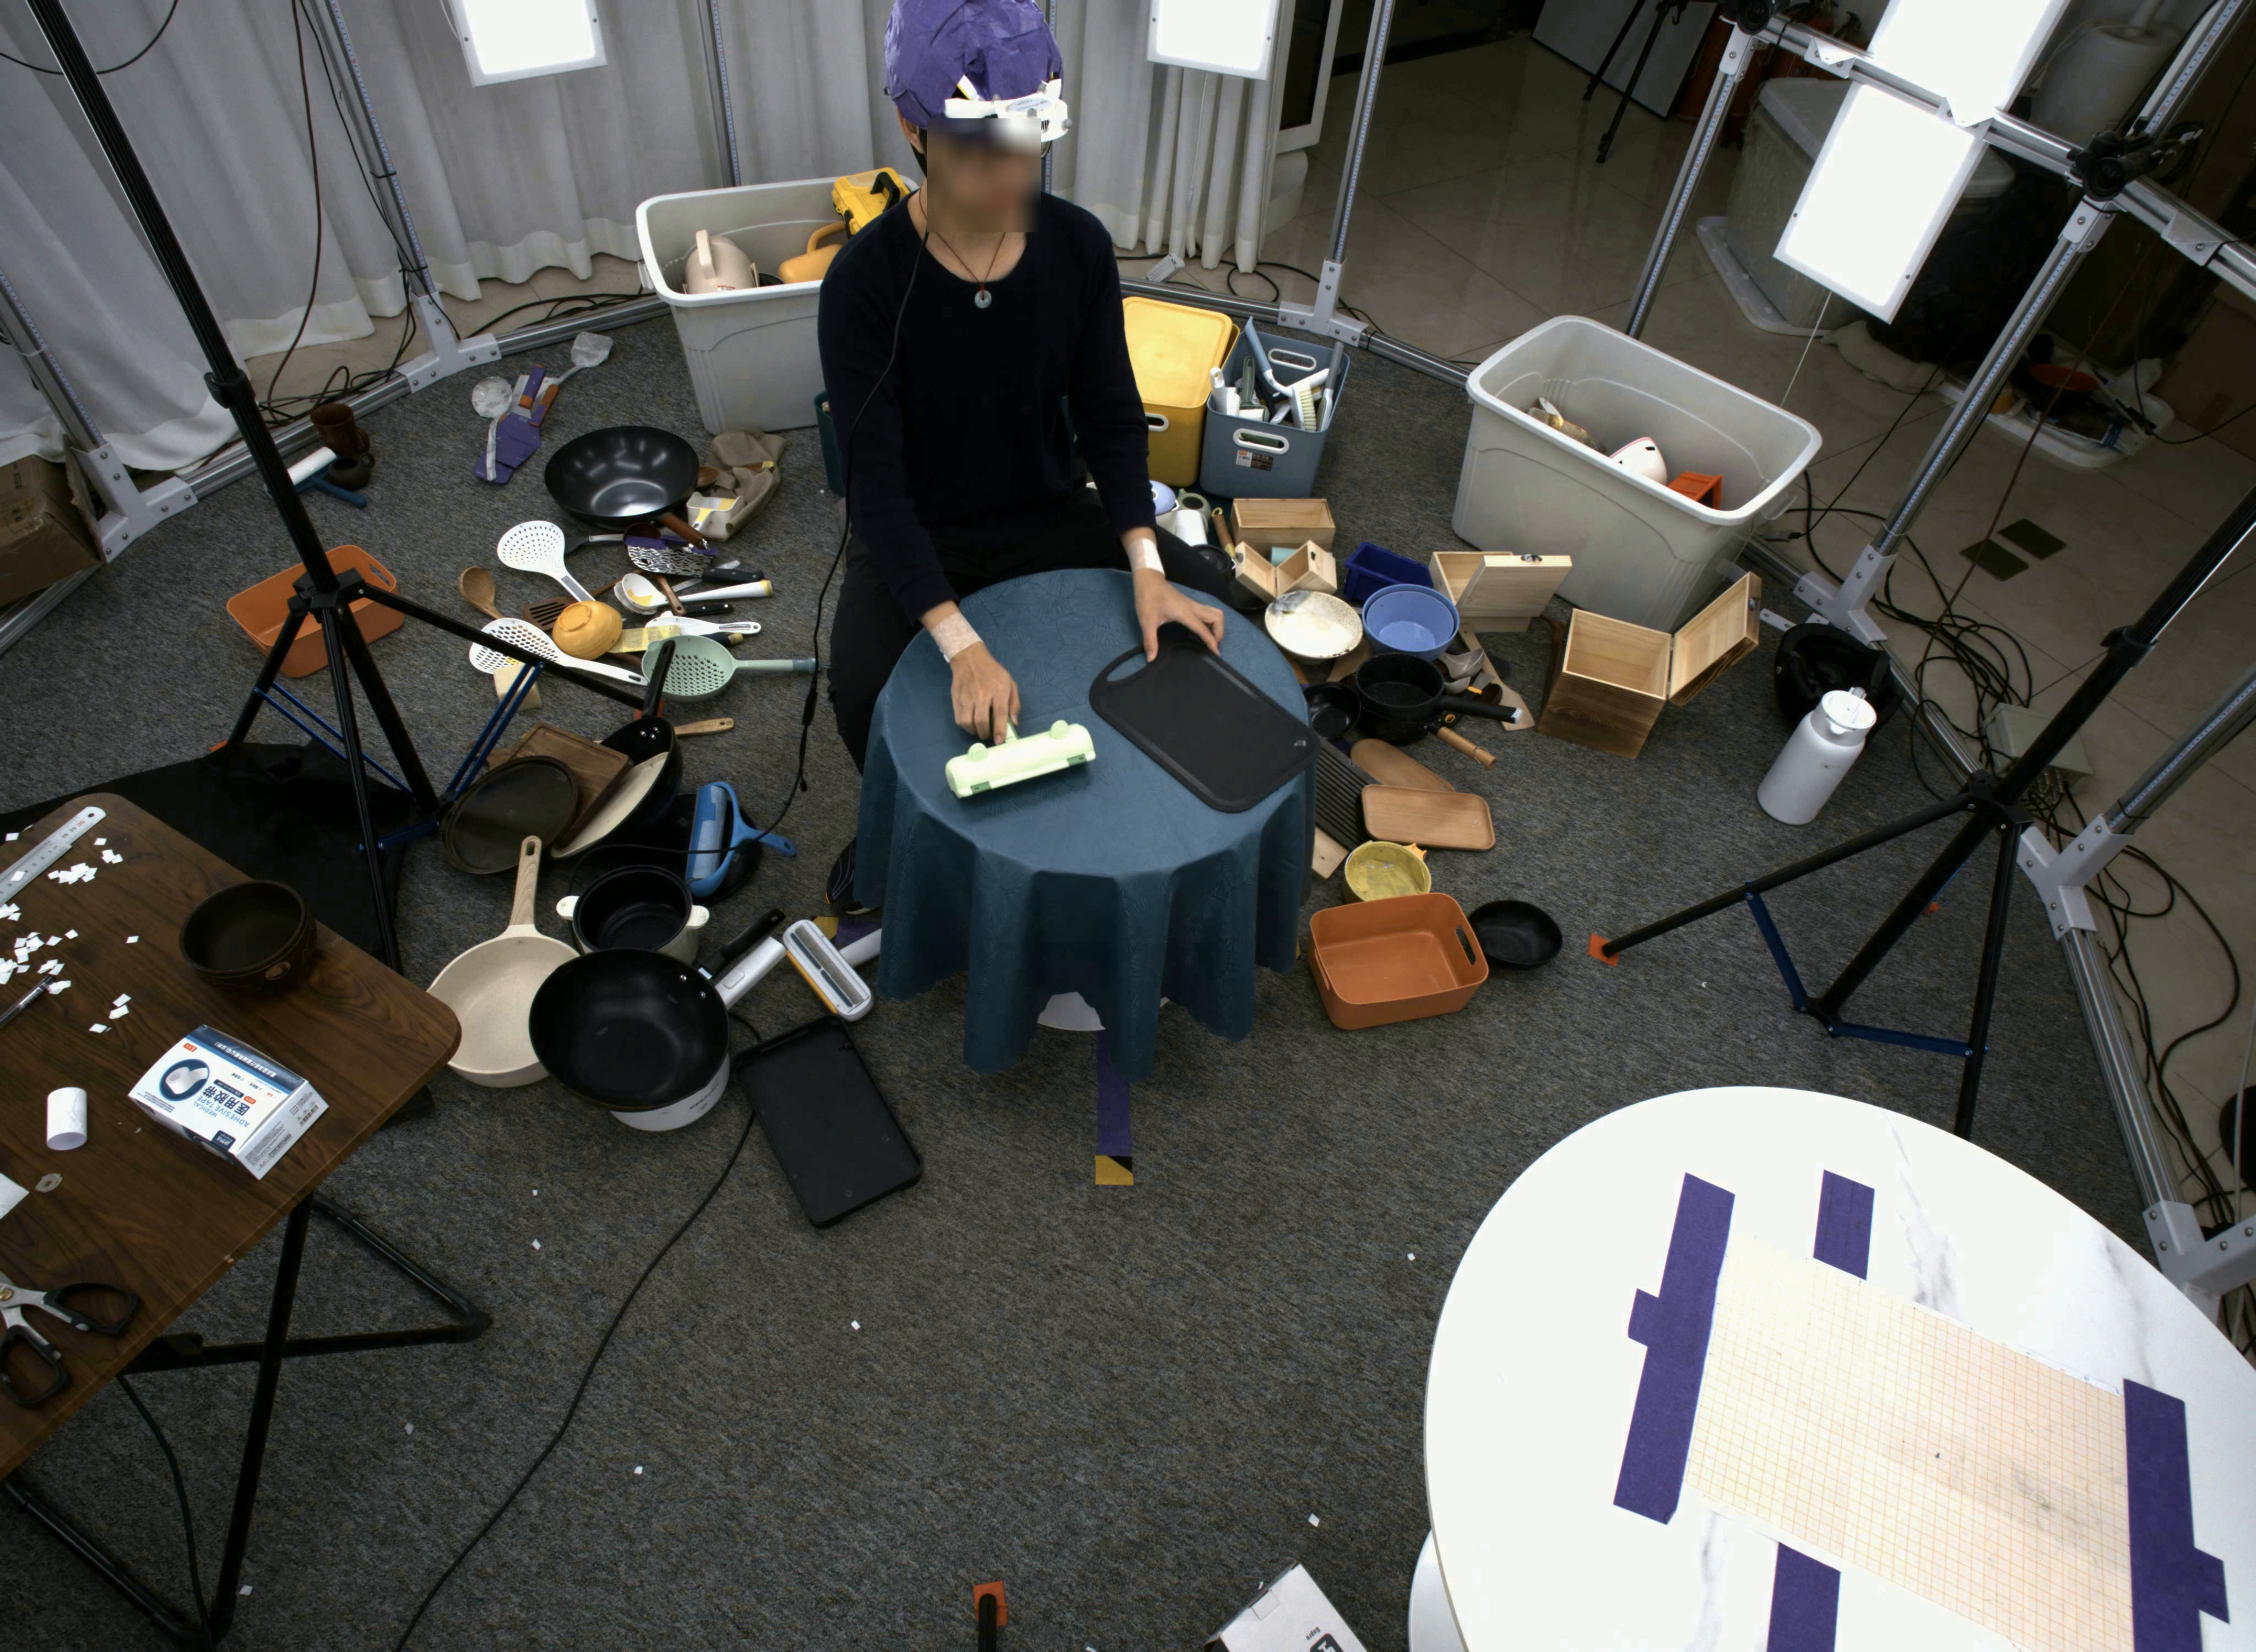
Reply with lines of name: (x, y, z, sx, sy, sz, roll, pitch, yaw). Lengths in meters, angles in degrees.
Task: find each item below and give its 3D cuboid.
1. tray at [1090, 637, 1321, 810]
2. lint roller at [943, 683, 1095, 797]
tray: (0.100, -0.155, 1.803, 0.213, 0.009, 0.331, -33, 59, -26)
lint roller: (-0.165, -0.137, 1.717, 0.199, 0.080, 0.187, -17, 63, -19)
